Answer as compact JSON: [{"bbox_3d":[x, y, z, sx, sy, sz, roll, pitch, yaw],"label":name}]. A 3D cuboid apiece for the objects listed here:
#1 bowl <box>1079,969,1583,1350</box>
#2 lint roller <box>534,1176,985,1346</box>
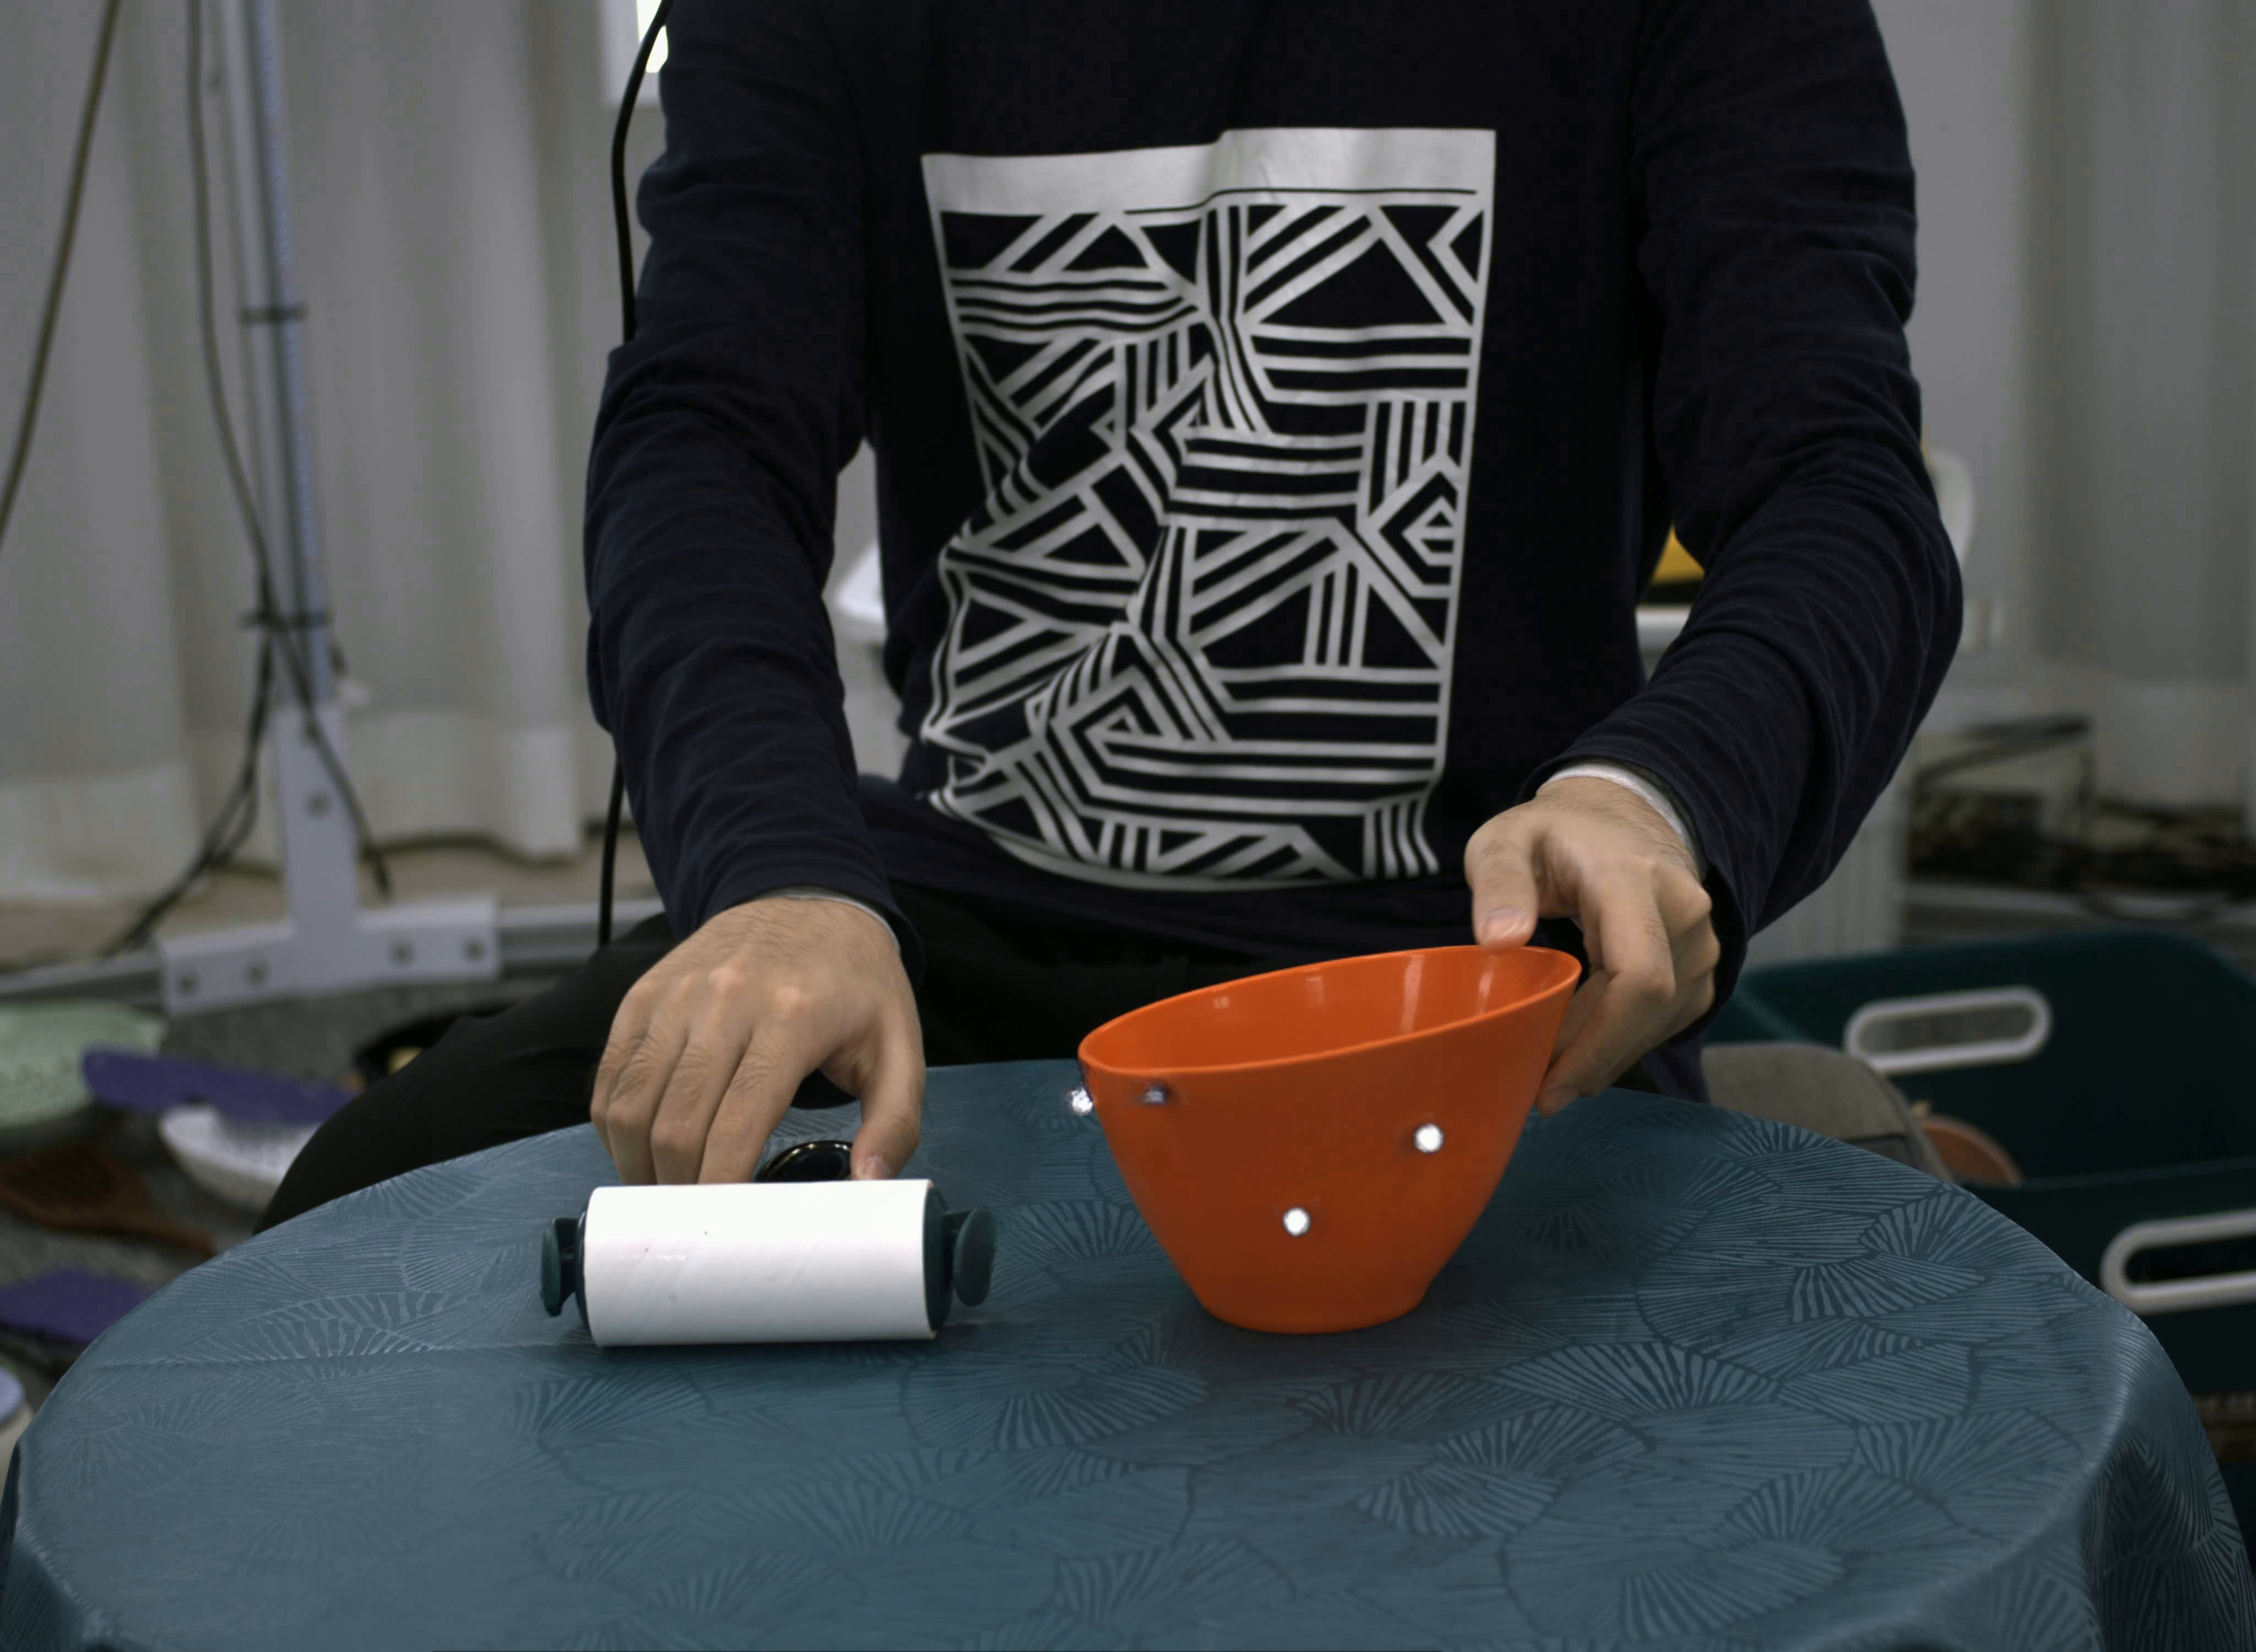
[{"bbox_3d":[0.060,0.096,1.598,0.147,0.104,0.149,-2,12,0],"label":"bowl"},{"bbox_3d":[-0.103,0.114,1.662,0.134,0.048,0.181,-2,11,4],"label":"lint roller"}]
